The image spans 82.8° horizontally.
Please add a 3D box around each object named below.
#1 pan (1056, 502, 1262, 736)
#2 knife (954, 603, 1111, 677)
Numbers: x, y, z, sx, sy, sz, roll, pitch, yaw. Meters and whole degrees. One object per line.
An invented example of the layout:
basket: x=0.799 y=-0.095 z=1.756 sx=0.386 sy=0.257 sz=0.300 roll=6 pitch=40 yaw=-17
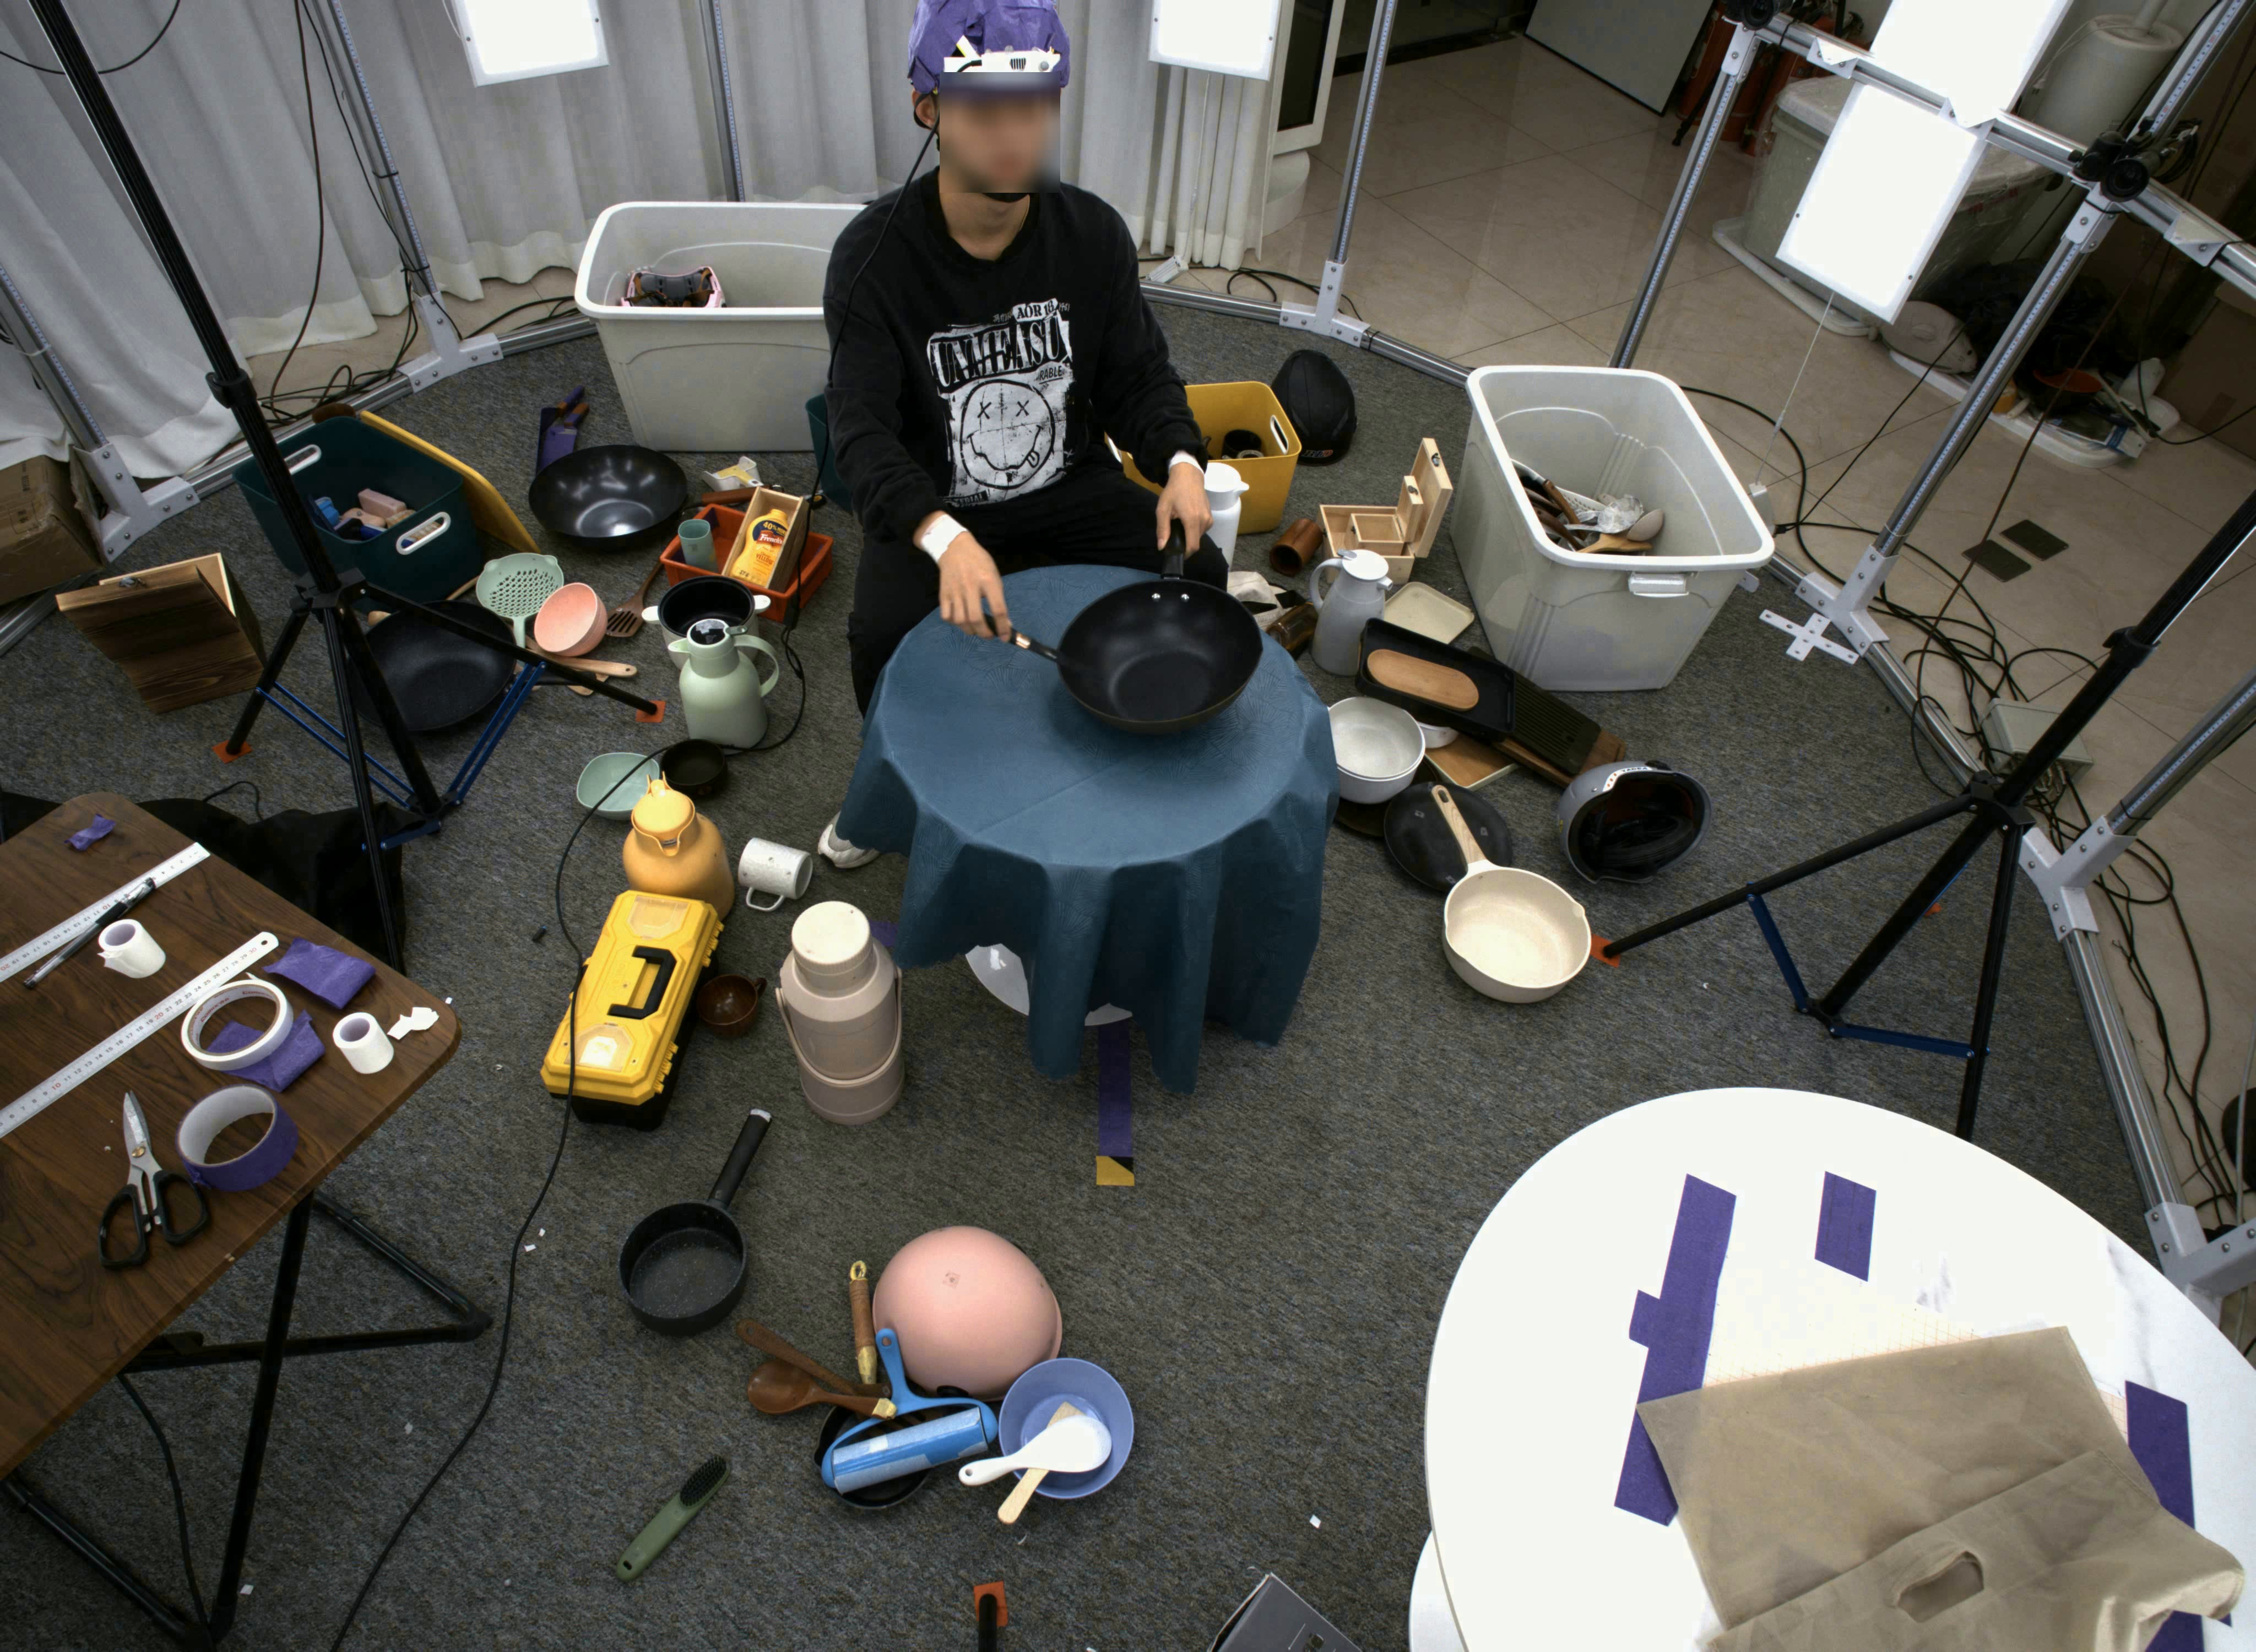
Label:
pan: x=0.057 y=-0.292 z=1.853 sx=0.288 sy=0.085 sz=0.474 roll=2 pitch=51 yaw=10
knife: x=-0.126 y=-0.244 z=1.716 sx=0.224 sy=0.017 sz=0.027 roll=24 pitch=44 yaw=-9
